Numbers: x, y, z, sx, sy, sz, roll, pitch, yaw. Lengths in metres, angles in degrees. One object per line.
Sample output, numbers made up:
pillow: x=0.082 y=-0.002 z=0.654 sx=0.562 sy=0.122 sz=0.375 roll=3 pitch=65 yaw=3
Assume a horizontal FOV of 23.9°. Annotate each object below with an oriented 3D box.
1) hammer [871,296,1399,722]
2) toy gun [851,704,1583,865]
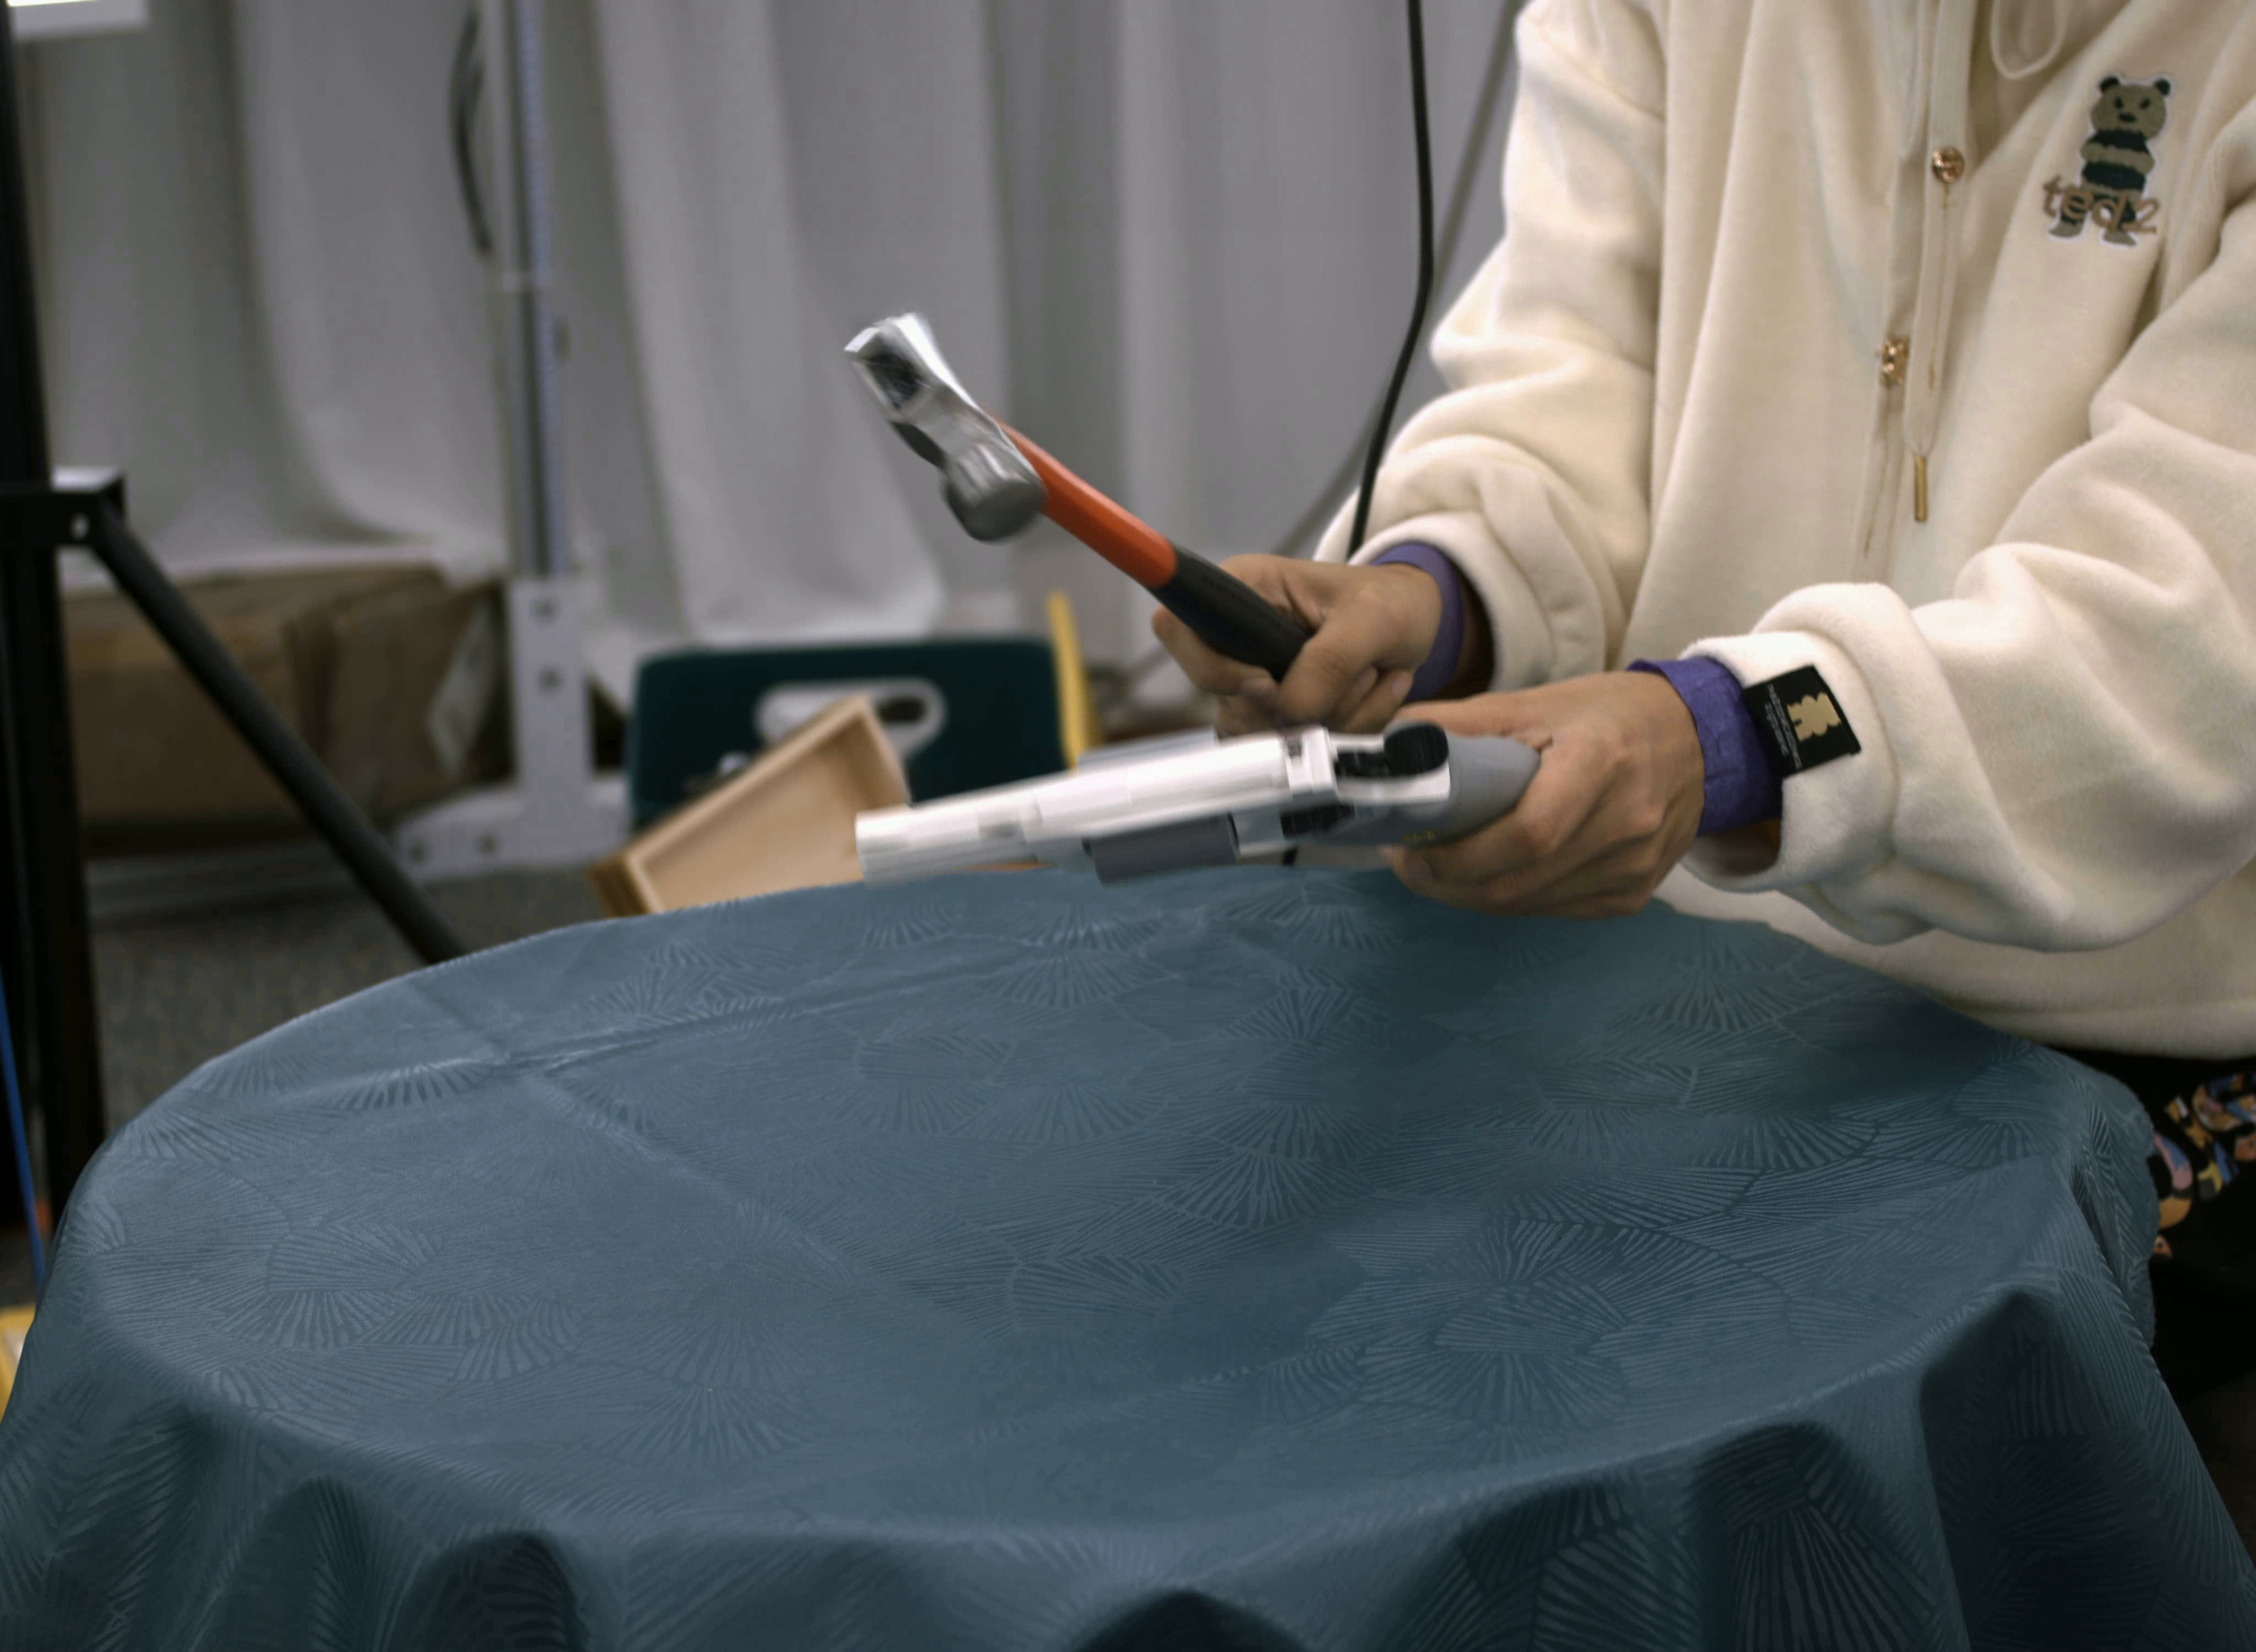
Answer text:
hammer: x=0.010 y=-0.085 z=1.637 sx=0.113 sy=0.026 sz=0.270 roll=47 pitch=8 yaw=37
toy gun: x=0.029 y=-0.008 z=1.532 sx=0.209 sy=0.039 sz=0.140 roll=-8 pitch=-10 yaw=4
